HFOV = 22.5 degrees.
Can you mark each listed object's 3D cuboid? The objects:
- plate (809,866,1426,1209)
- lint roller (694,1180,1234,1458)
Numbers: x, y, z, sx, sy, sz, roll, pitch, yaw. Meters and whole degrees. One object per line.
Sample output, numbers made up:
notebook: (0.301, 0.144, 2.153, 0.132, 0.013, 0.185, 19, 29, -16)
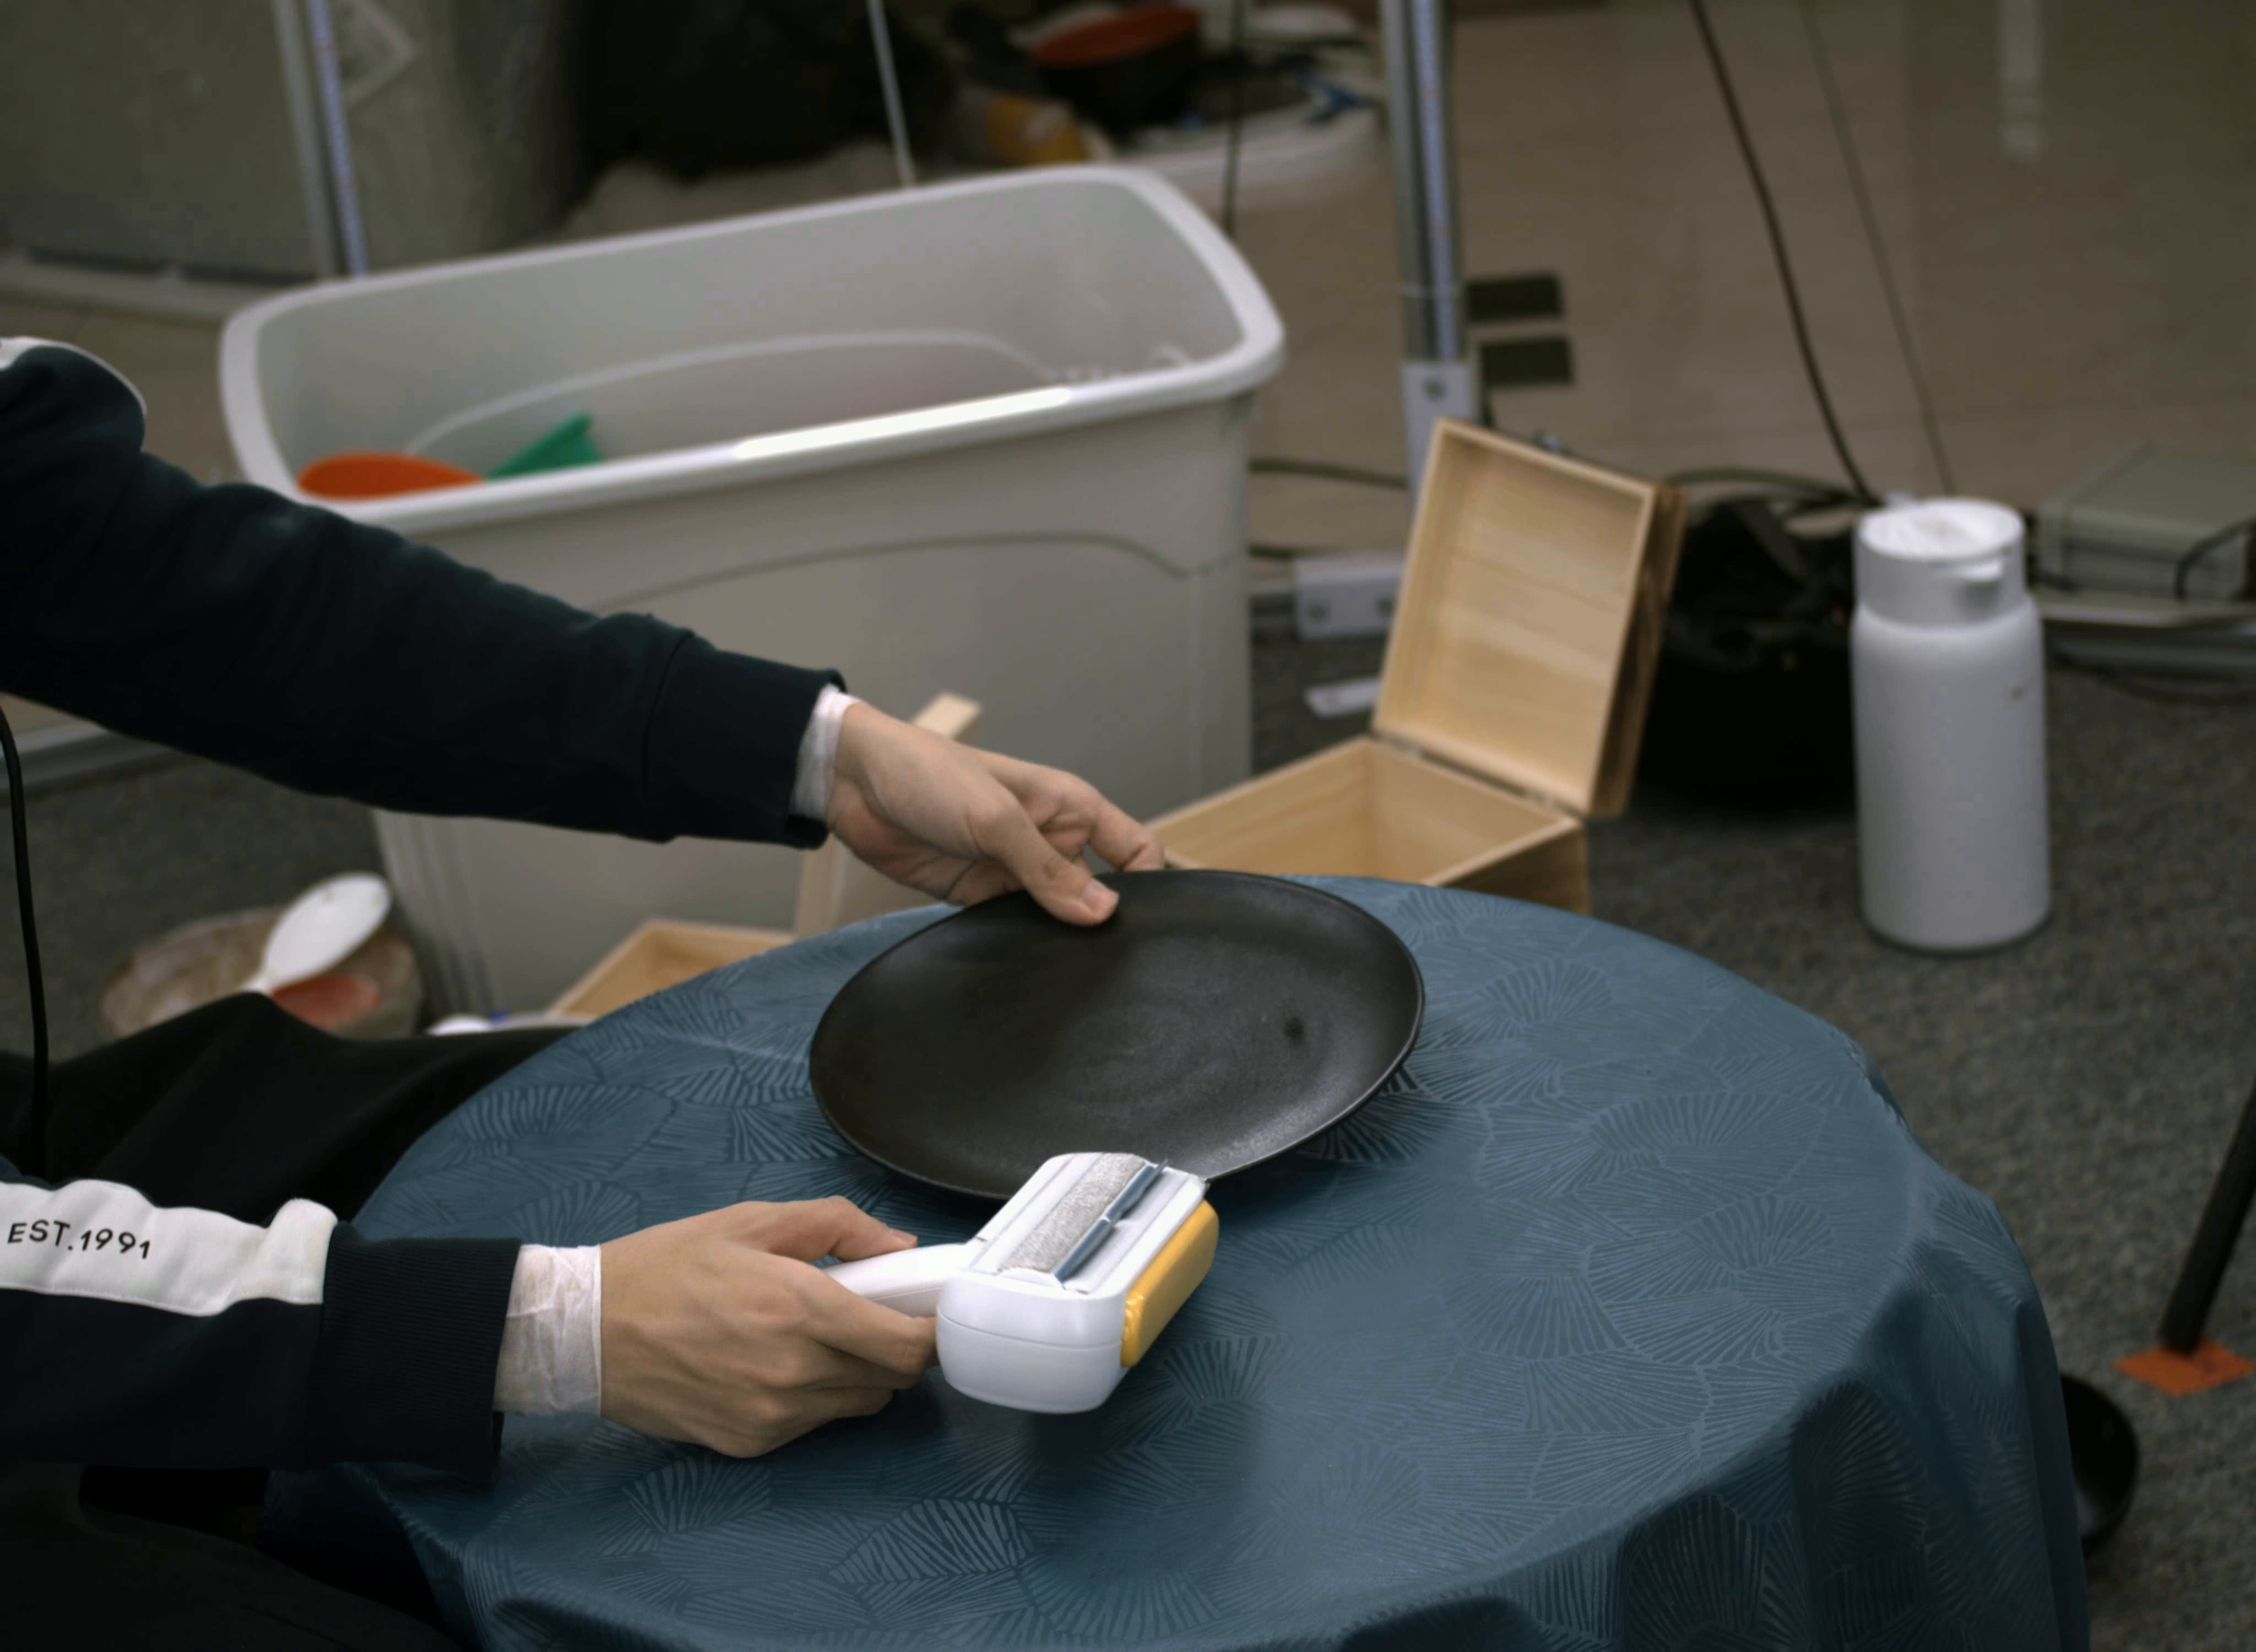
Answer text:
plate: (-0.004, 0.087, 2.211, 0.244, 0.024, 0.240, -6, 30, 4)
lint roller: (-0.071, 0.183, 2.014, 0.192, 0.075, 0.191, -10, 11, 21)
